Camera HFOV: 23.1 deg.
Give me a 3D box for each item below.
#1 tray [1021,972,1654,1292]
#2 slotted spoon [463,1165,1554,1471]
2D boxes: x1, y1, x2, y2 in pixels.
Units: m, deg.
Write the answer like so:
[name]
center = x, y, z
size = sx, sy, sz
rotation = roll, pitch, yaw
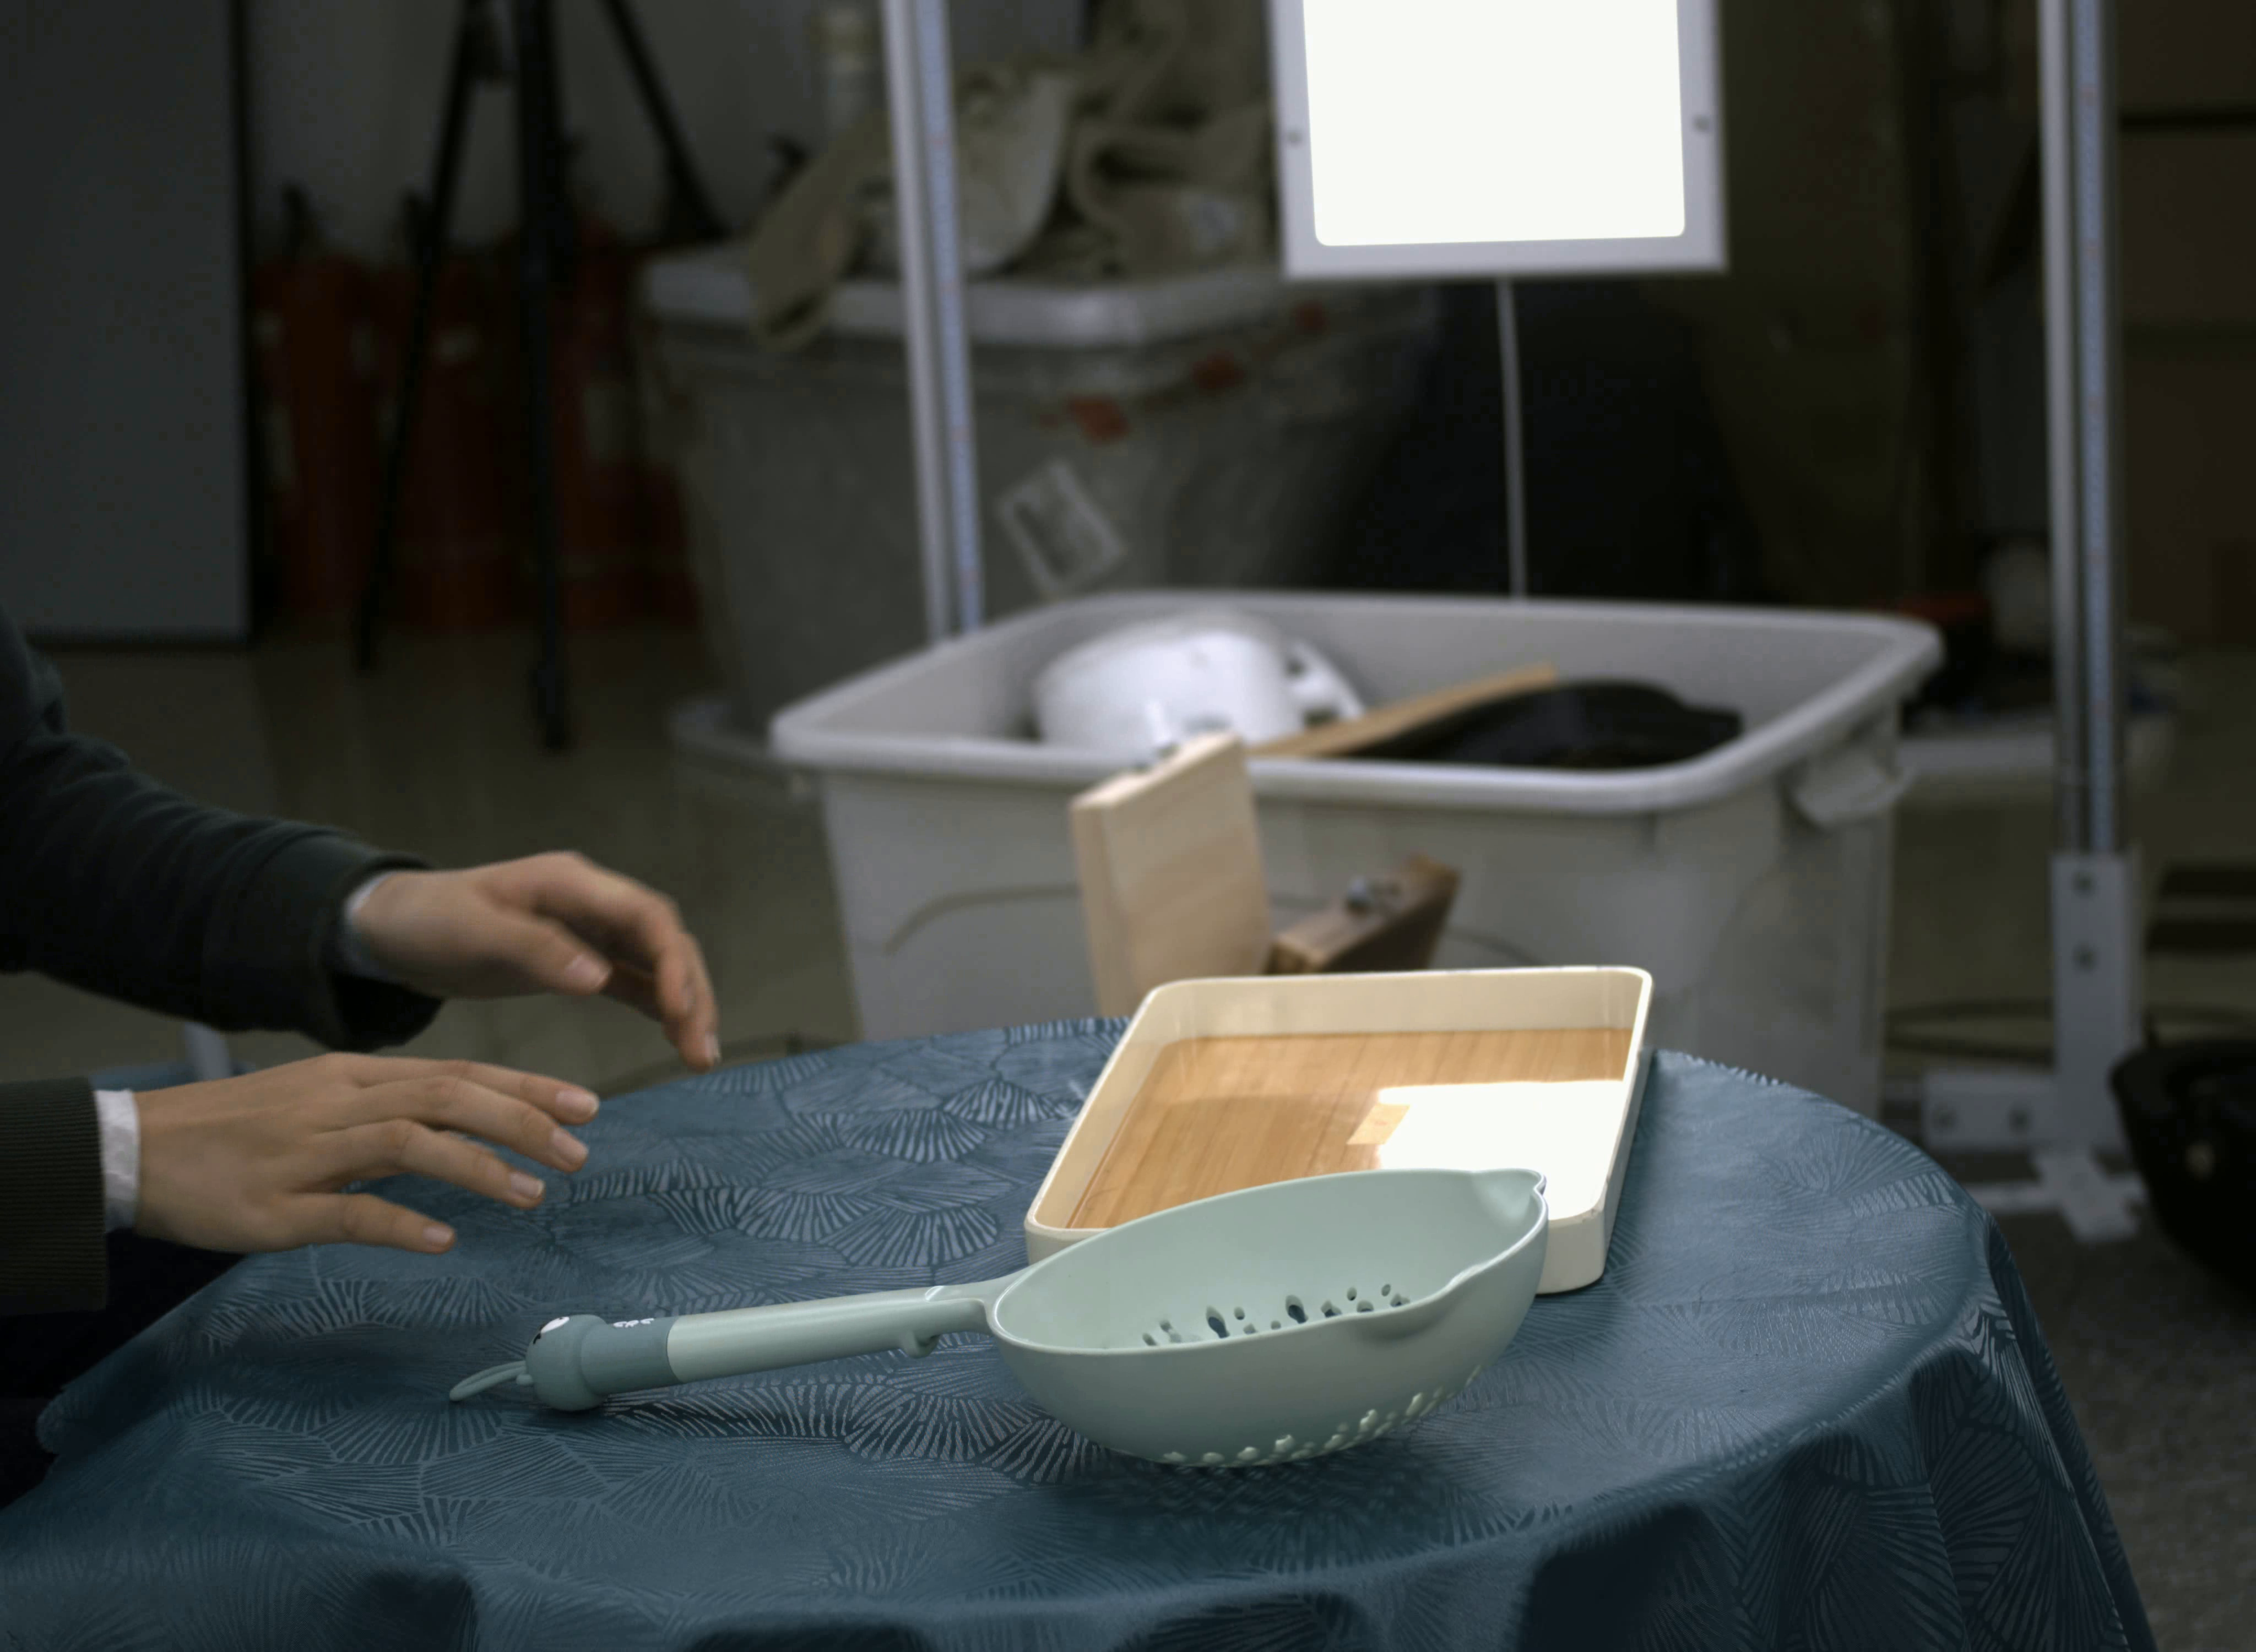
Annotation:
[tray]
center = 0.080, 0.104, 1.905
size = 0.193, 0.027, 0.297
rotation = -2, 14, 11
[slotted spoon]
center = -0.044, 0.152, 1.675
size = 0.364, 0.075, 0.166
rotation = 1, 14, 22
